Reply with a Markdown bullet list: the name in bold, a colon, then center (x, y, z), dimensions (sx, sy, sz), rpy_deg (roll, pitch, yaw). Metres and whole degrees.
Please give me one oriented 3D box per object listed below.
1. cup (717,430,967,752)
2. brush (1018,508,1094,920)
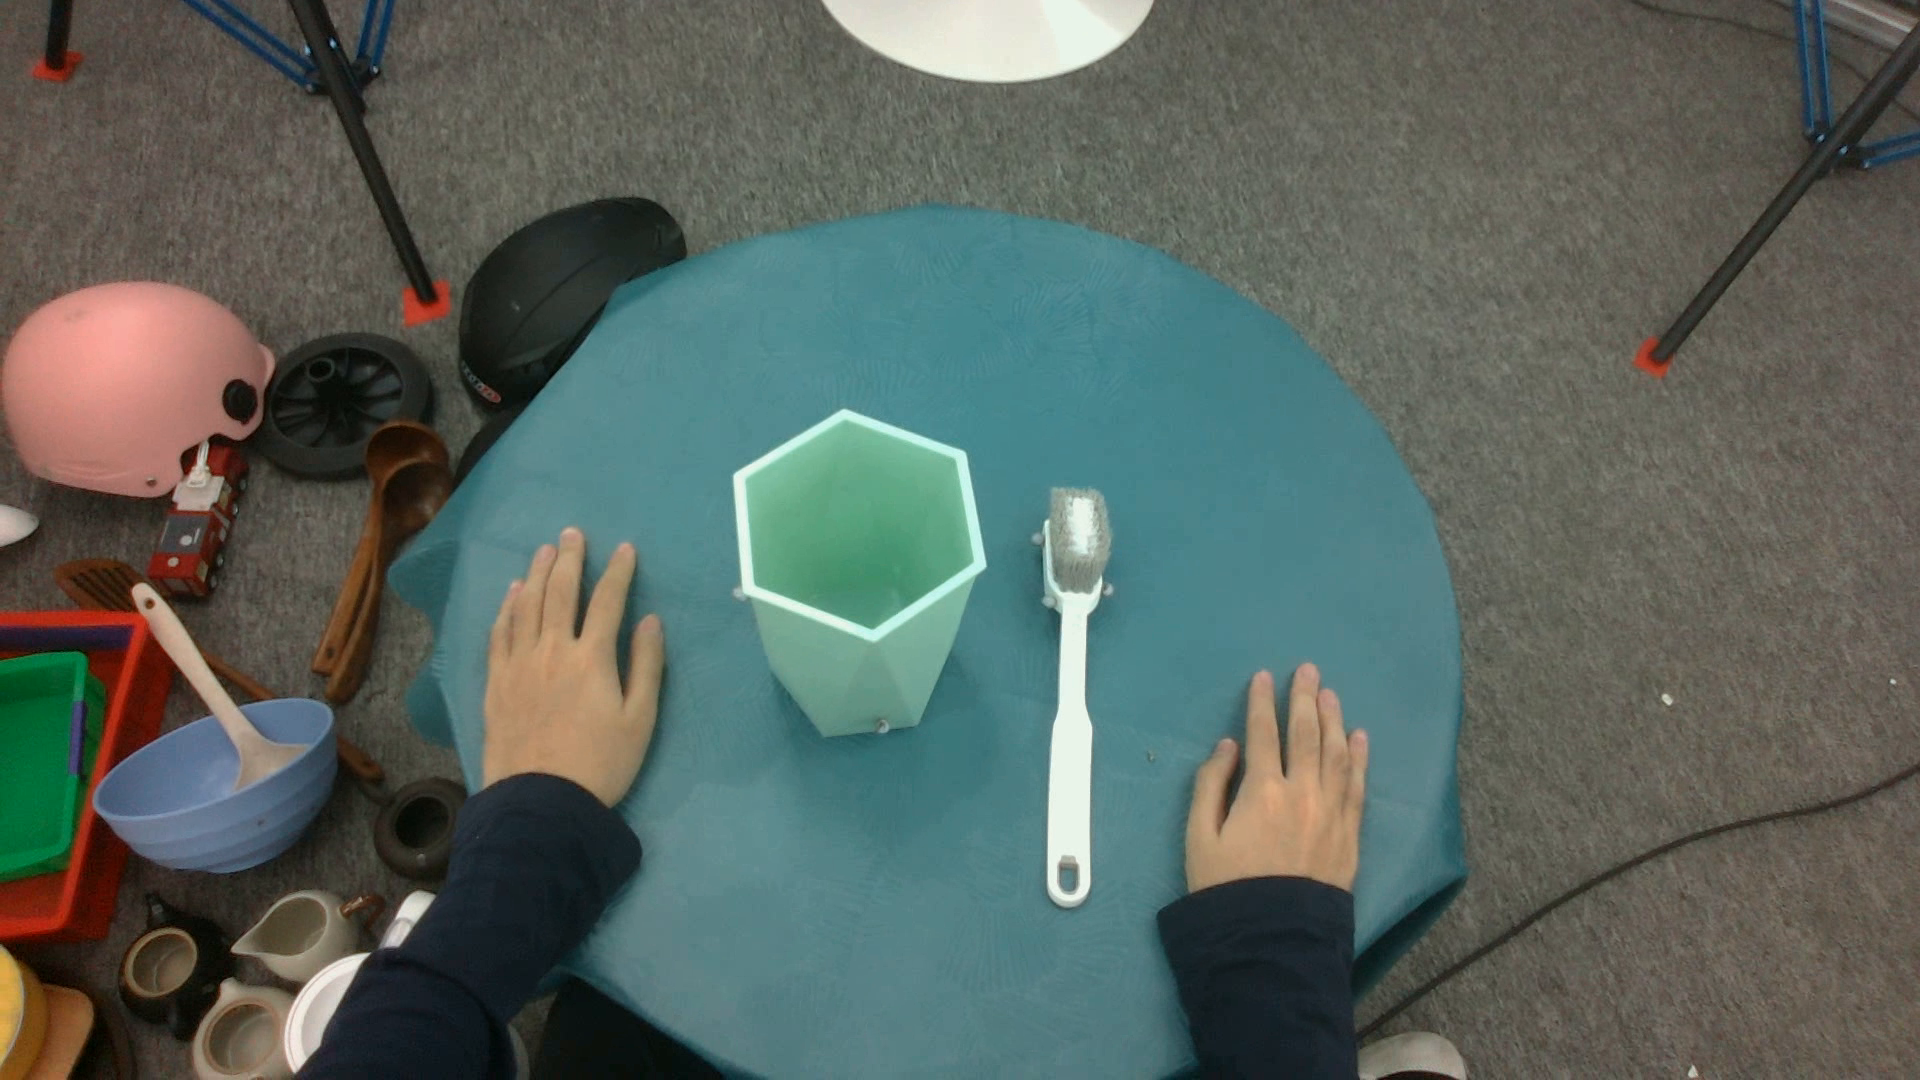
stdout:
- **cup**: center (-0.063, 0.039, 0.736), dimensions (0.131, 0.162, 0.115), rpy_deg (-36, 69, -21)
- **brush**: center (0.054, 0.089, 0.782), dimensions (0.034, 0.050, 0.244), rpy_deg (8, 59, -4)
